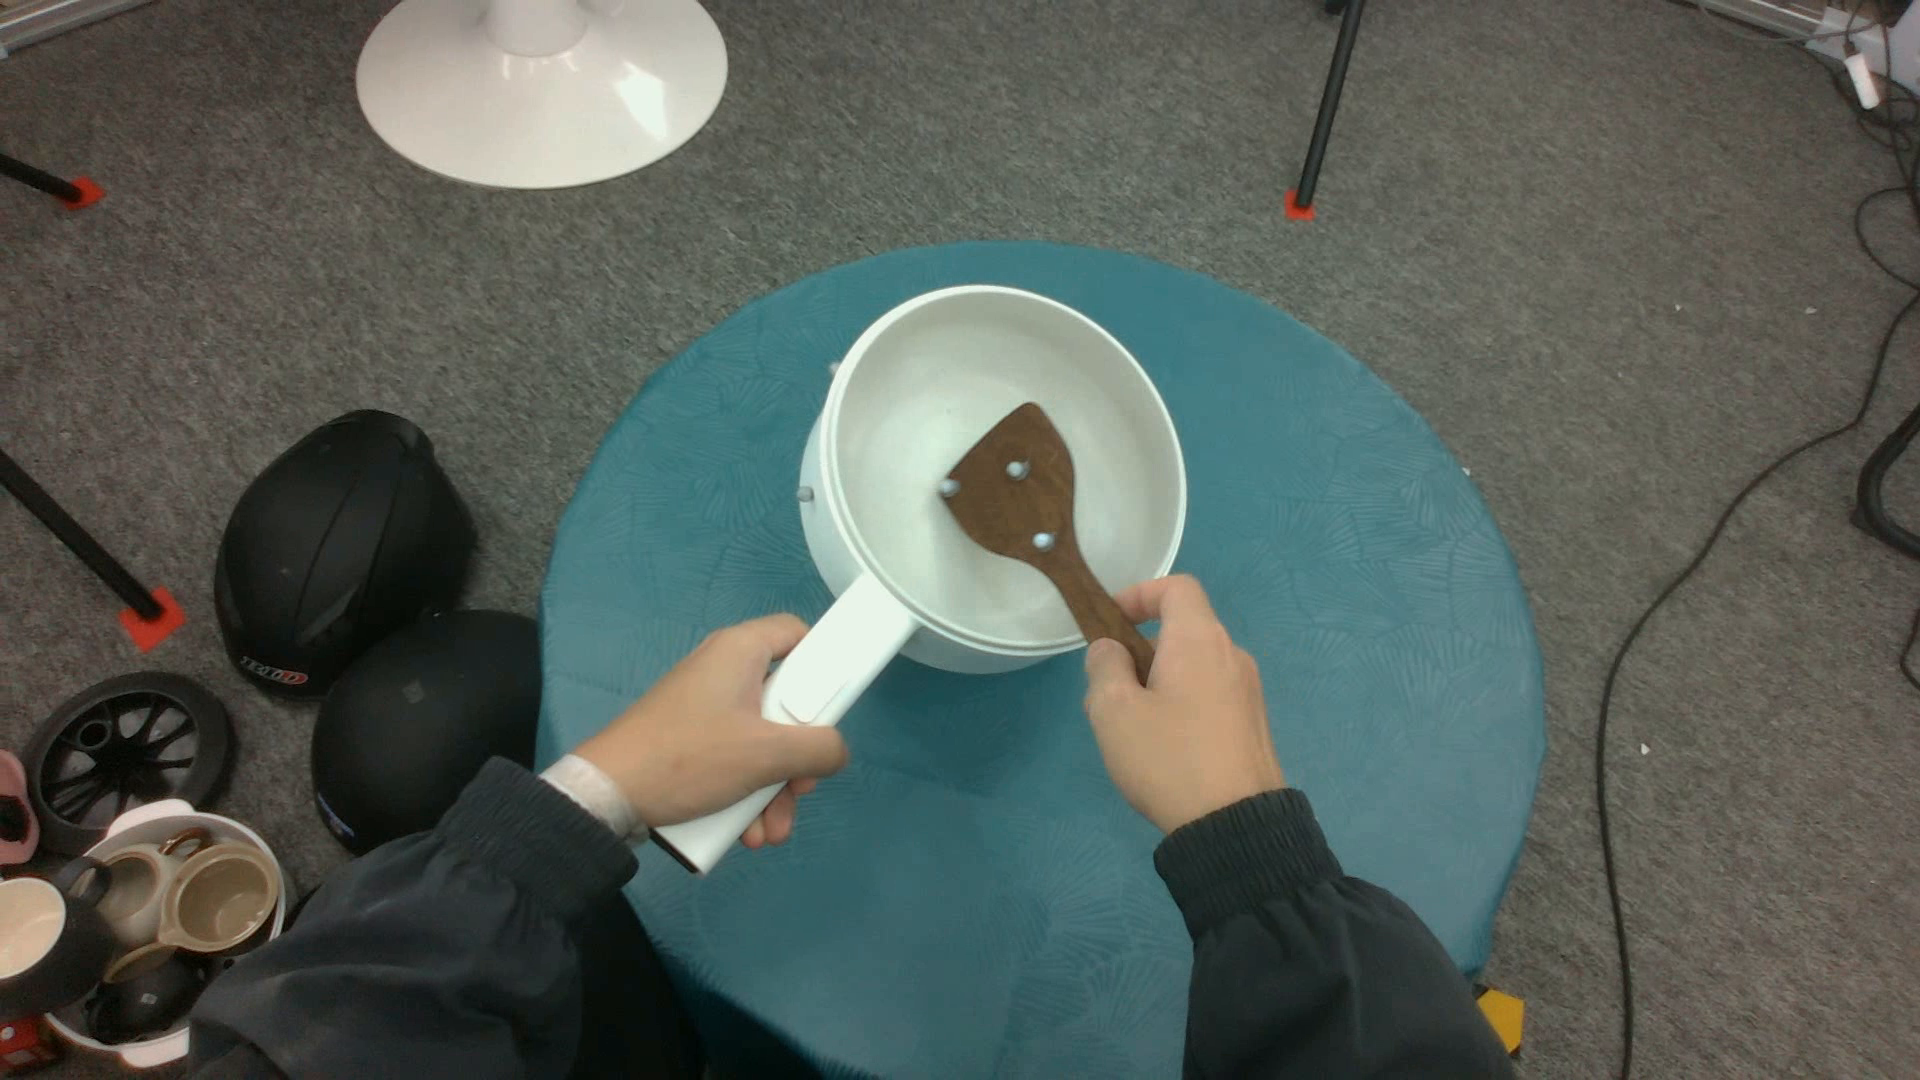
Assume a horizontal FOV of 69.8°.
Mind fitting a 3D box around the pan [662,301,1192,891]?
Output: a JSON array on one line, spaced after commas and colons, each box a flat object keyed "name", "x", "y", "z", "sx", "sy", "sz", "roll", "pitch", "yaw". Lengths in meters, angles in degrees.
[{"name": "pan", "x": -0.027, "y": 0.033, "z": 0.731, "sx": 0.201, "sy": 0.101, "sz": 0.356, "roll": 40, "pitch": 66, "yaw": -3}]

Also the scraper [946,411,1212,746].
[{"name": "scraper", "x": 0.061, "y": 0.019, "z": 0.685, "sx": 0.075, "sy": 0.011, "sz": 0.212, "roll": -45, "pitch": 49, "yaw": 13}]
